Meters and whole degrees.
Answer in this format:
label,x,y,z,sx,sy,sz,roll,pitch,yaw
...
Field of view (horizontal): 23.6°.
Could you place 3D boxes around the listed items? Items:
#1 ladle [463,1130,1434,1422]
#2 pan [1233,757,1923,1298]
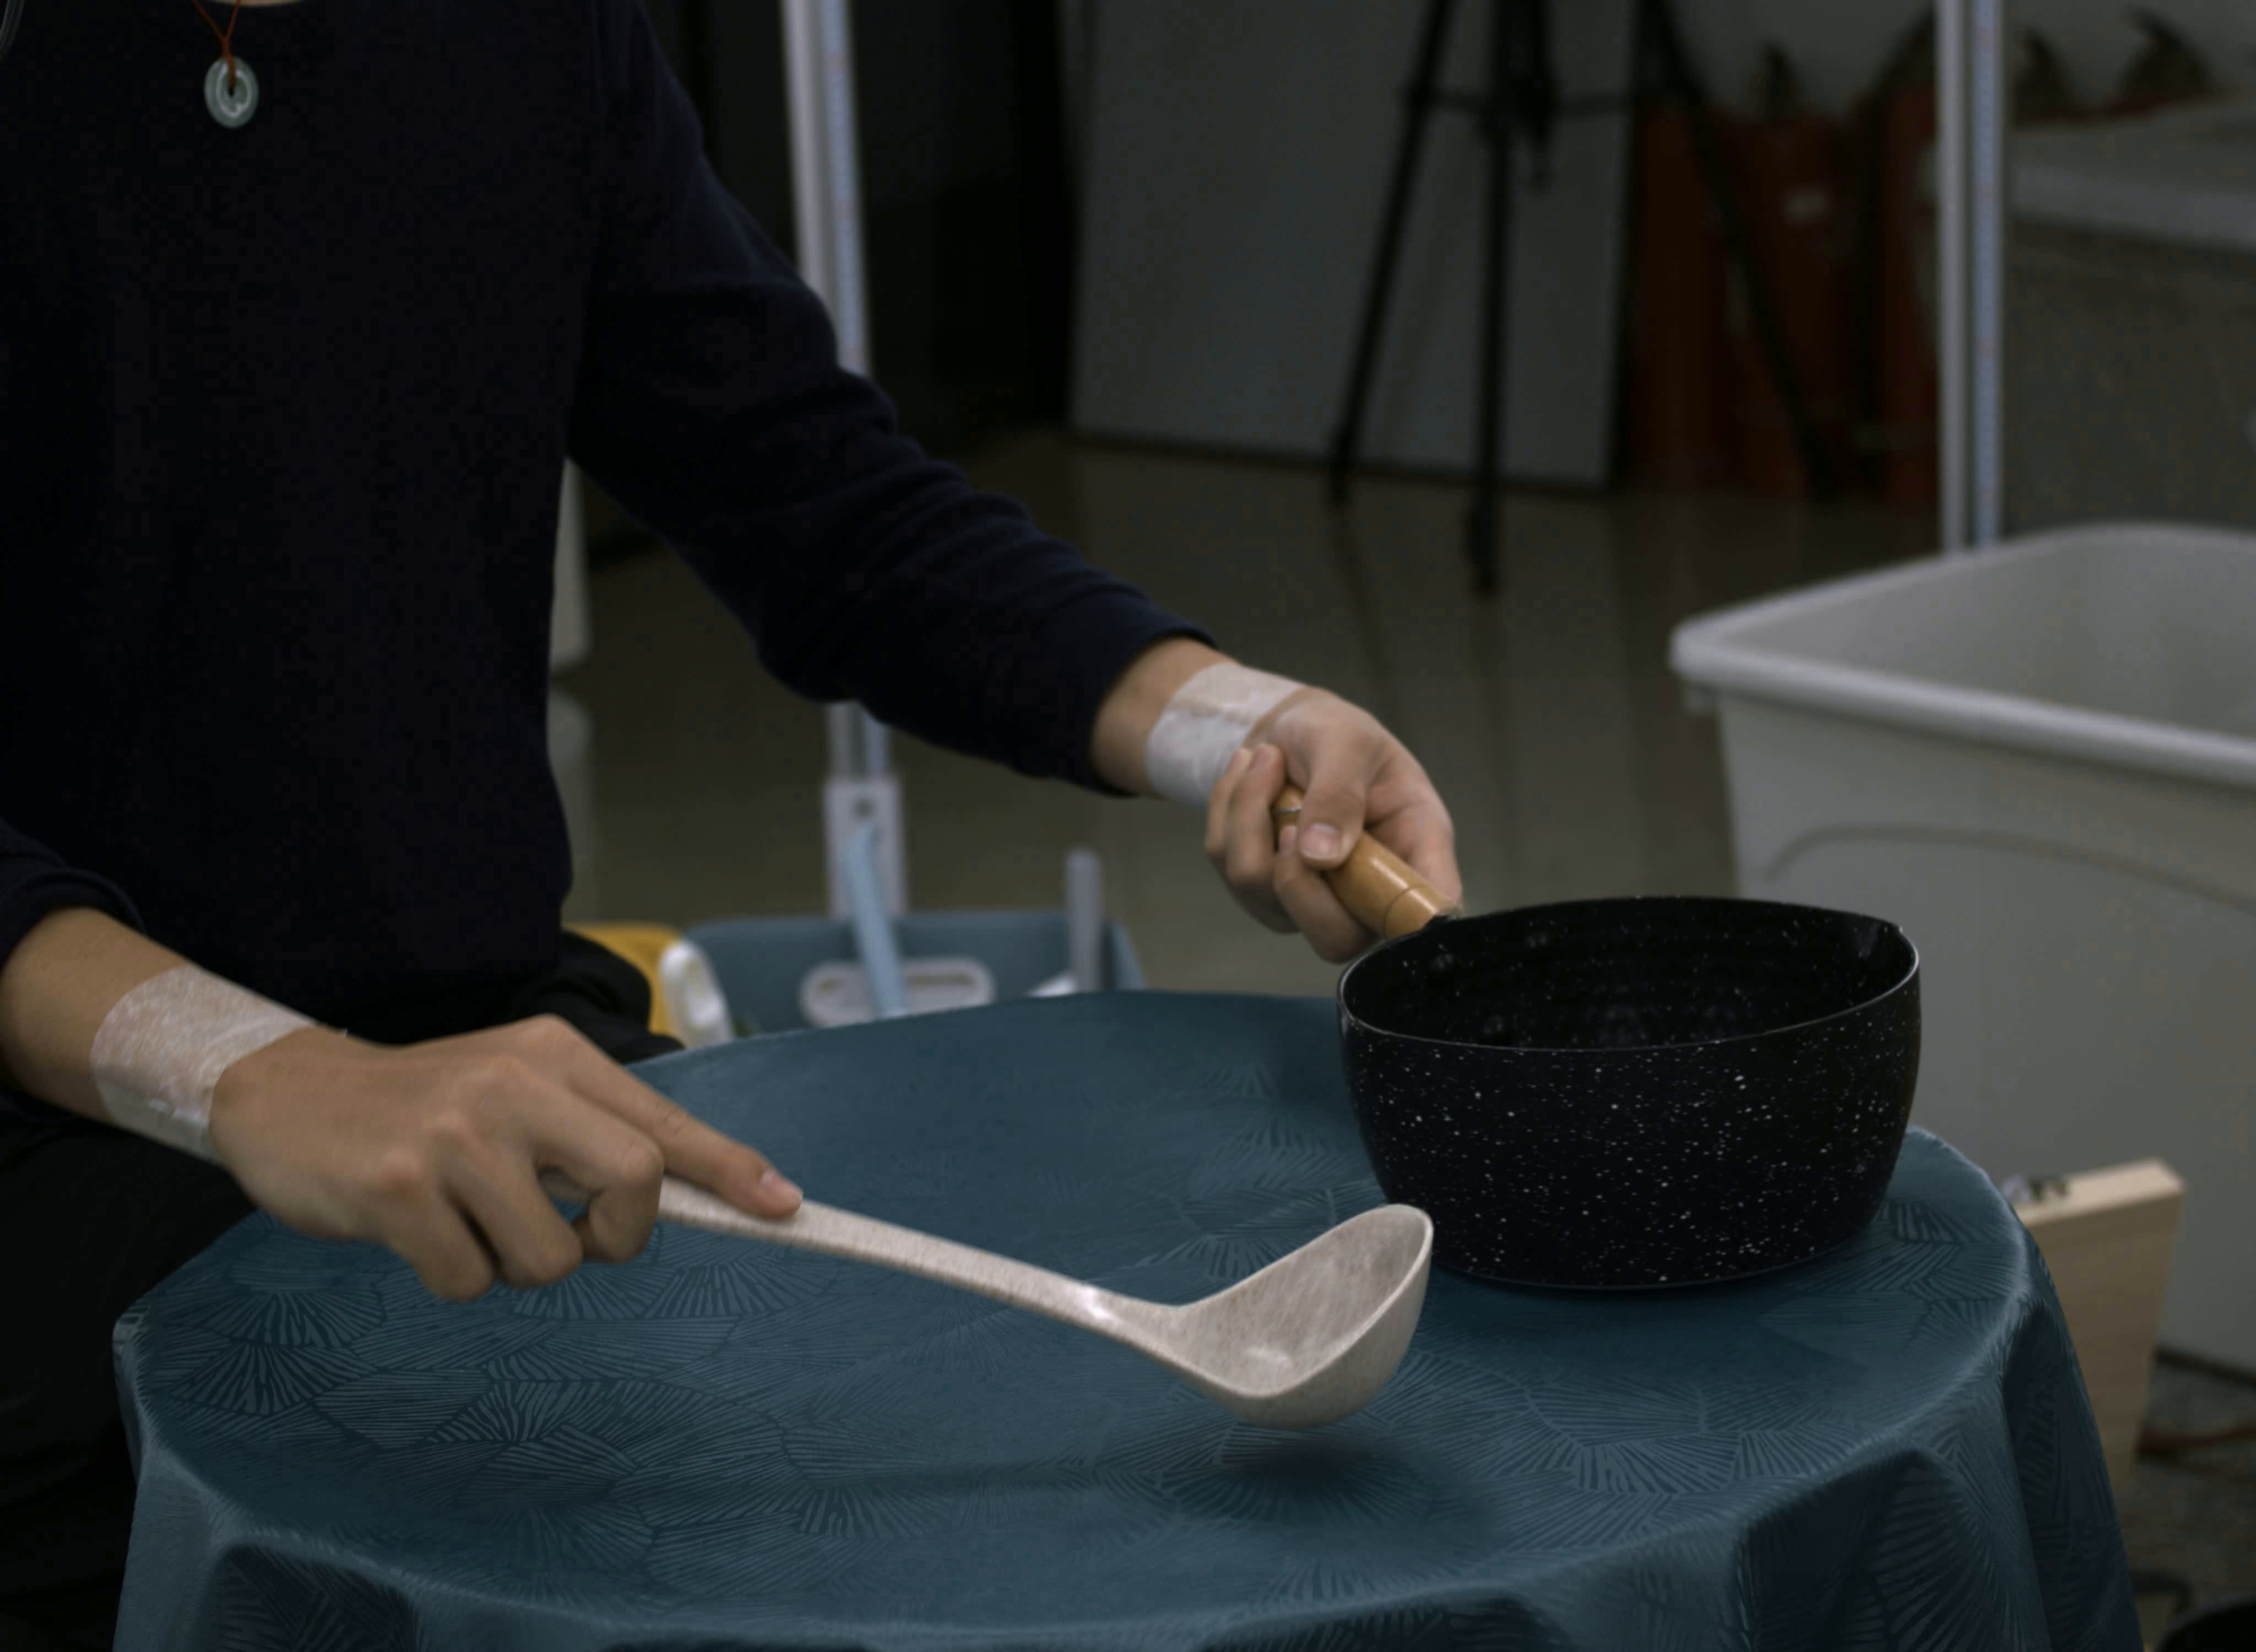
label,x,y,z,sx,sy,sz,roll,pitch,yaw
ladle,-0.050,0.102,1.515,0.272,0.070,0.089,17,27,2
pan,0.122,0.059,1.759,0.203,0.109,0.346,-12,16,-25
